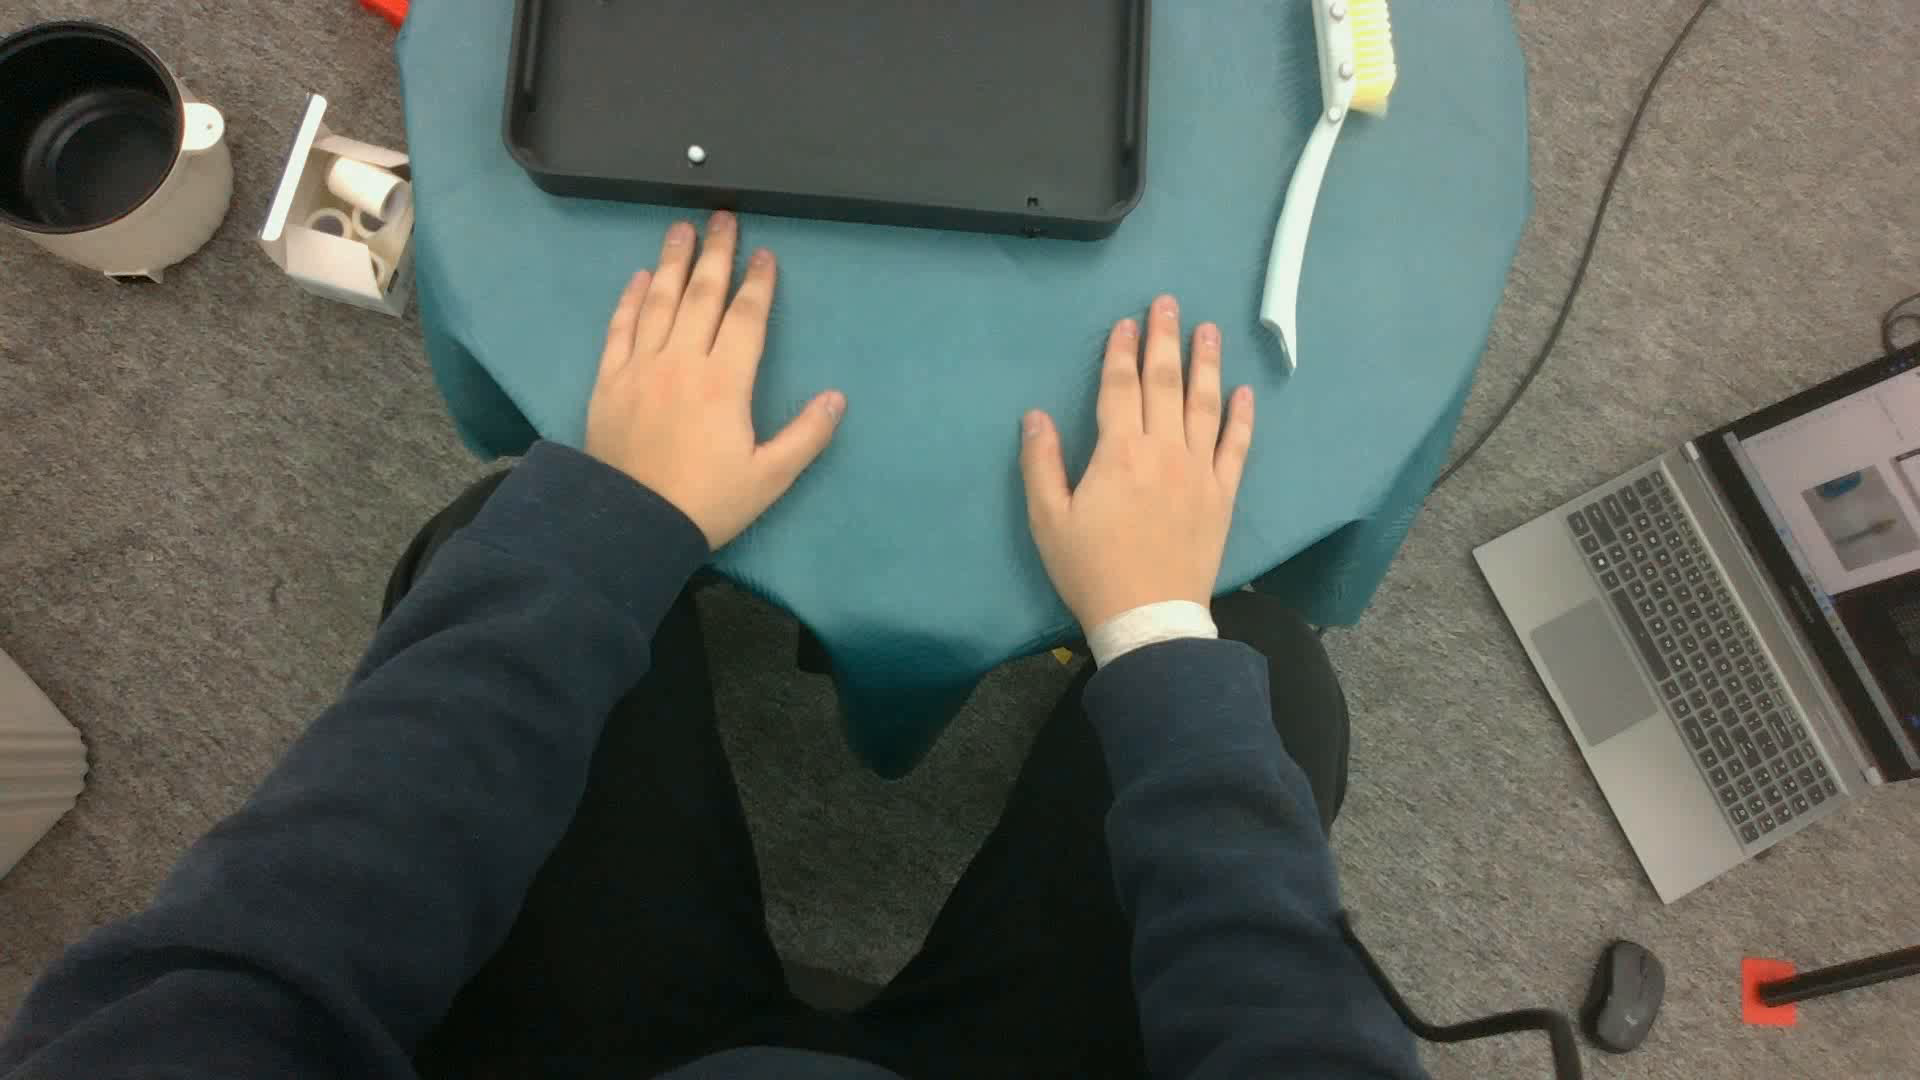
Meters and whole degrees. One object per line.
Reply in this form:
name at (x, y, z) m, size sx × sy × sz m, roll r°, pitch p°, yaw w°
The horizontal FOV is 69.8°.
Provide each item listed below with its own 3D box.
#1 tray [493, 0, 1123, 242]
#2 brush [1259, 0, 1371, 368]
tray at (-0.077, -0.247, 0.723) m, size 0.318 × 0.037 × 0.184 m, roll -1°, pitch 81°, yaw -5°
brush at (0.189, -0.204, 0.735) m, size 0.049 × 0.038 × 0.229 m, roll 5°, pitch 81°, yaw 8°
